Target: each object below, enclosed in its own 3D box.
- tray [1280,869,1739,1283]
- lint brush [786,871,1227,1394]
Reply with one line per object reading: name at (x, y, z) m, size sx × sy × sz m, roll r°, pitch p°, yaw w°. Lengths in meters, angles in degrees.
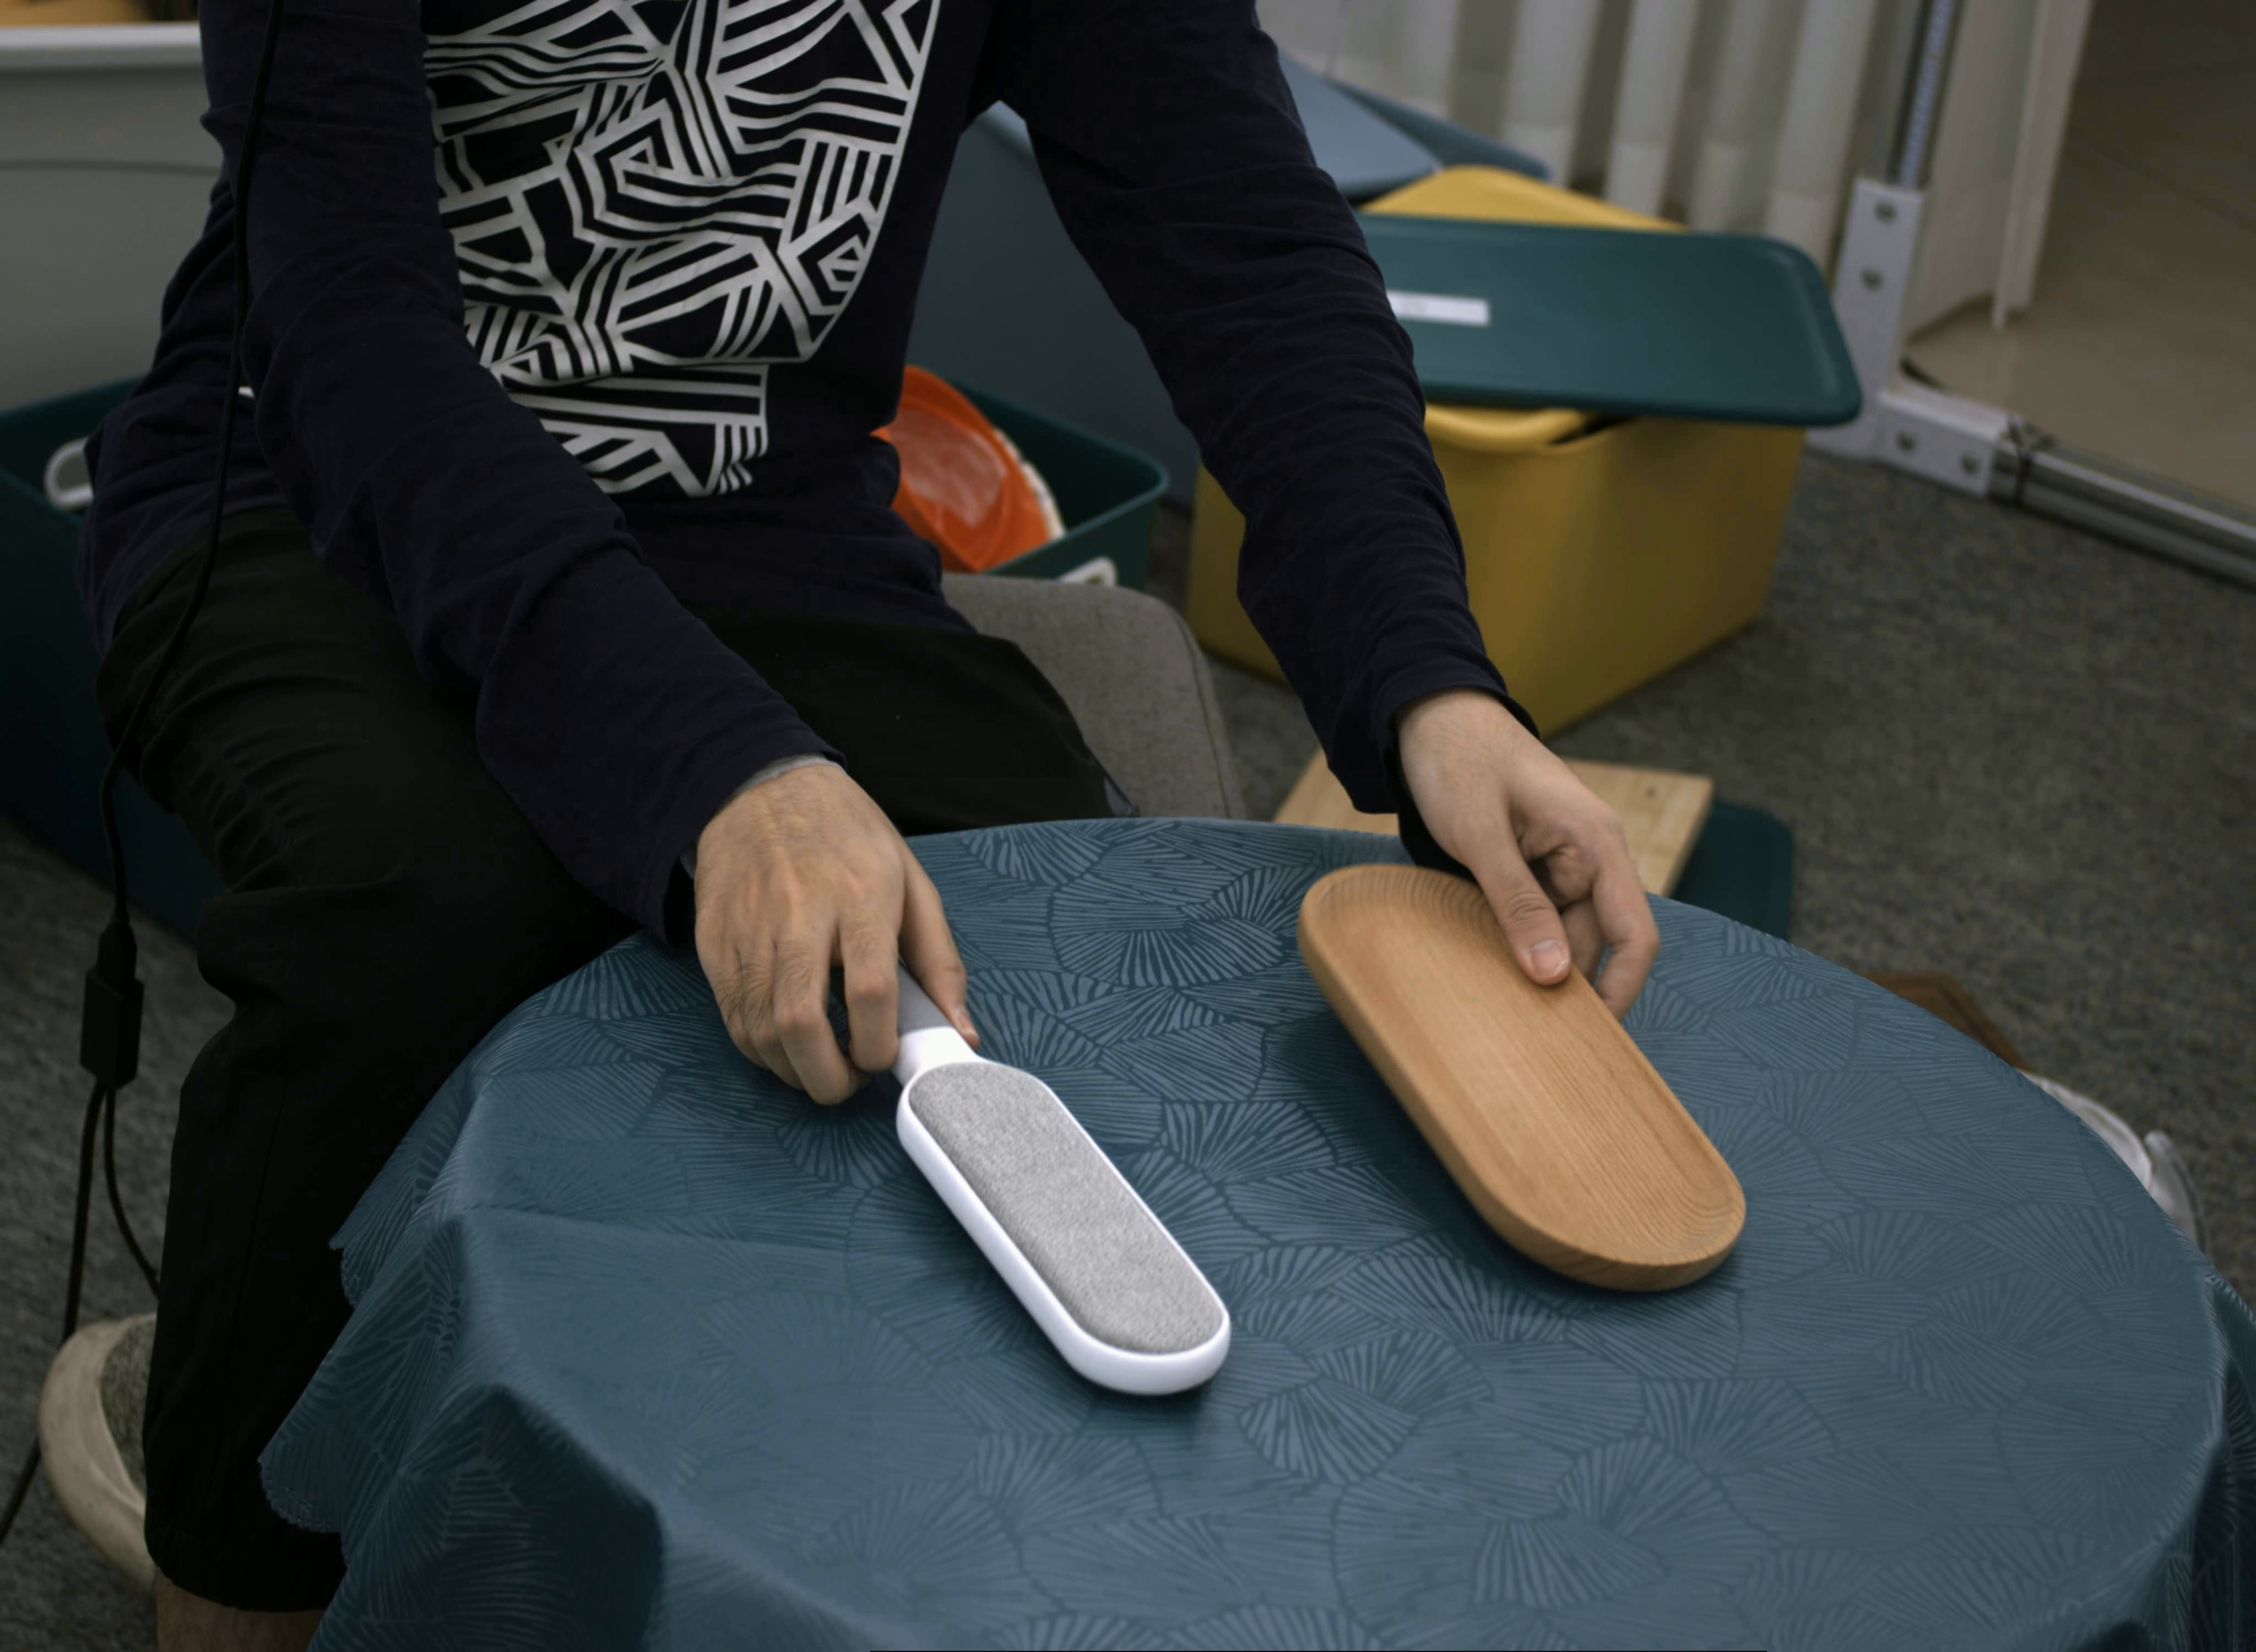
tray at (0.131, 0.085, 1.862) m, size 0.101 × 0.020 × 0.233 m, roll -2°, pitch 33°, yaw -28°
lint brush at (-0.048, 0.098, 1.797) m, size 0.060 × 0.021 × 0.312 m, roll -13°, pitch 35°, yaw -21°
